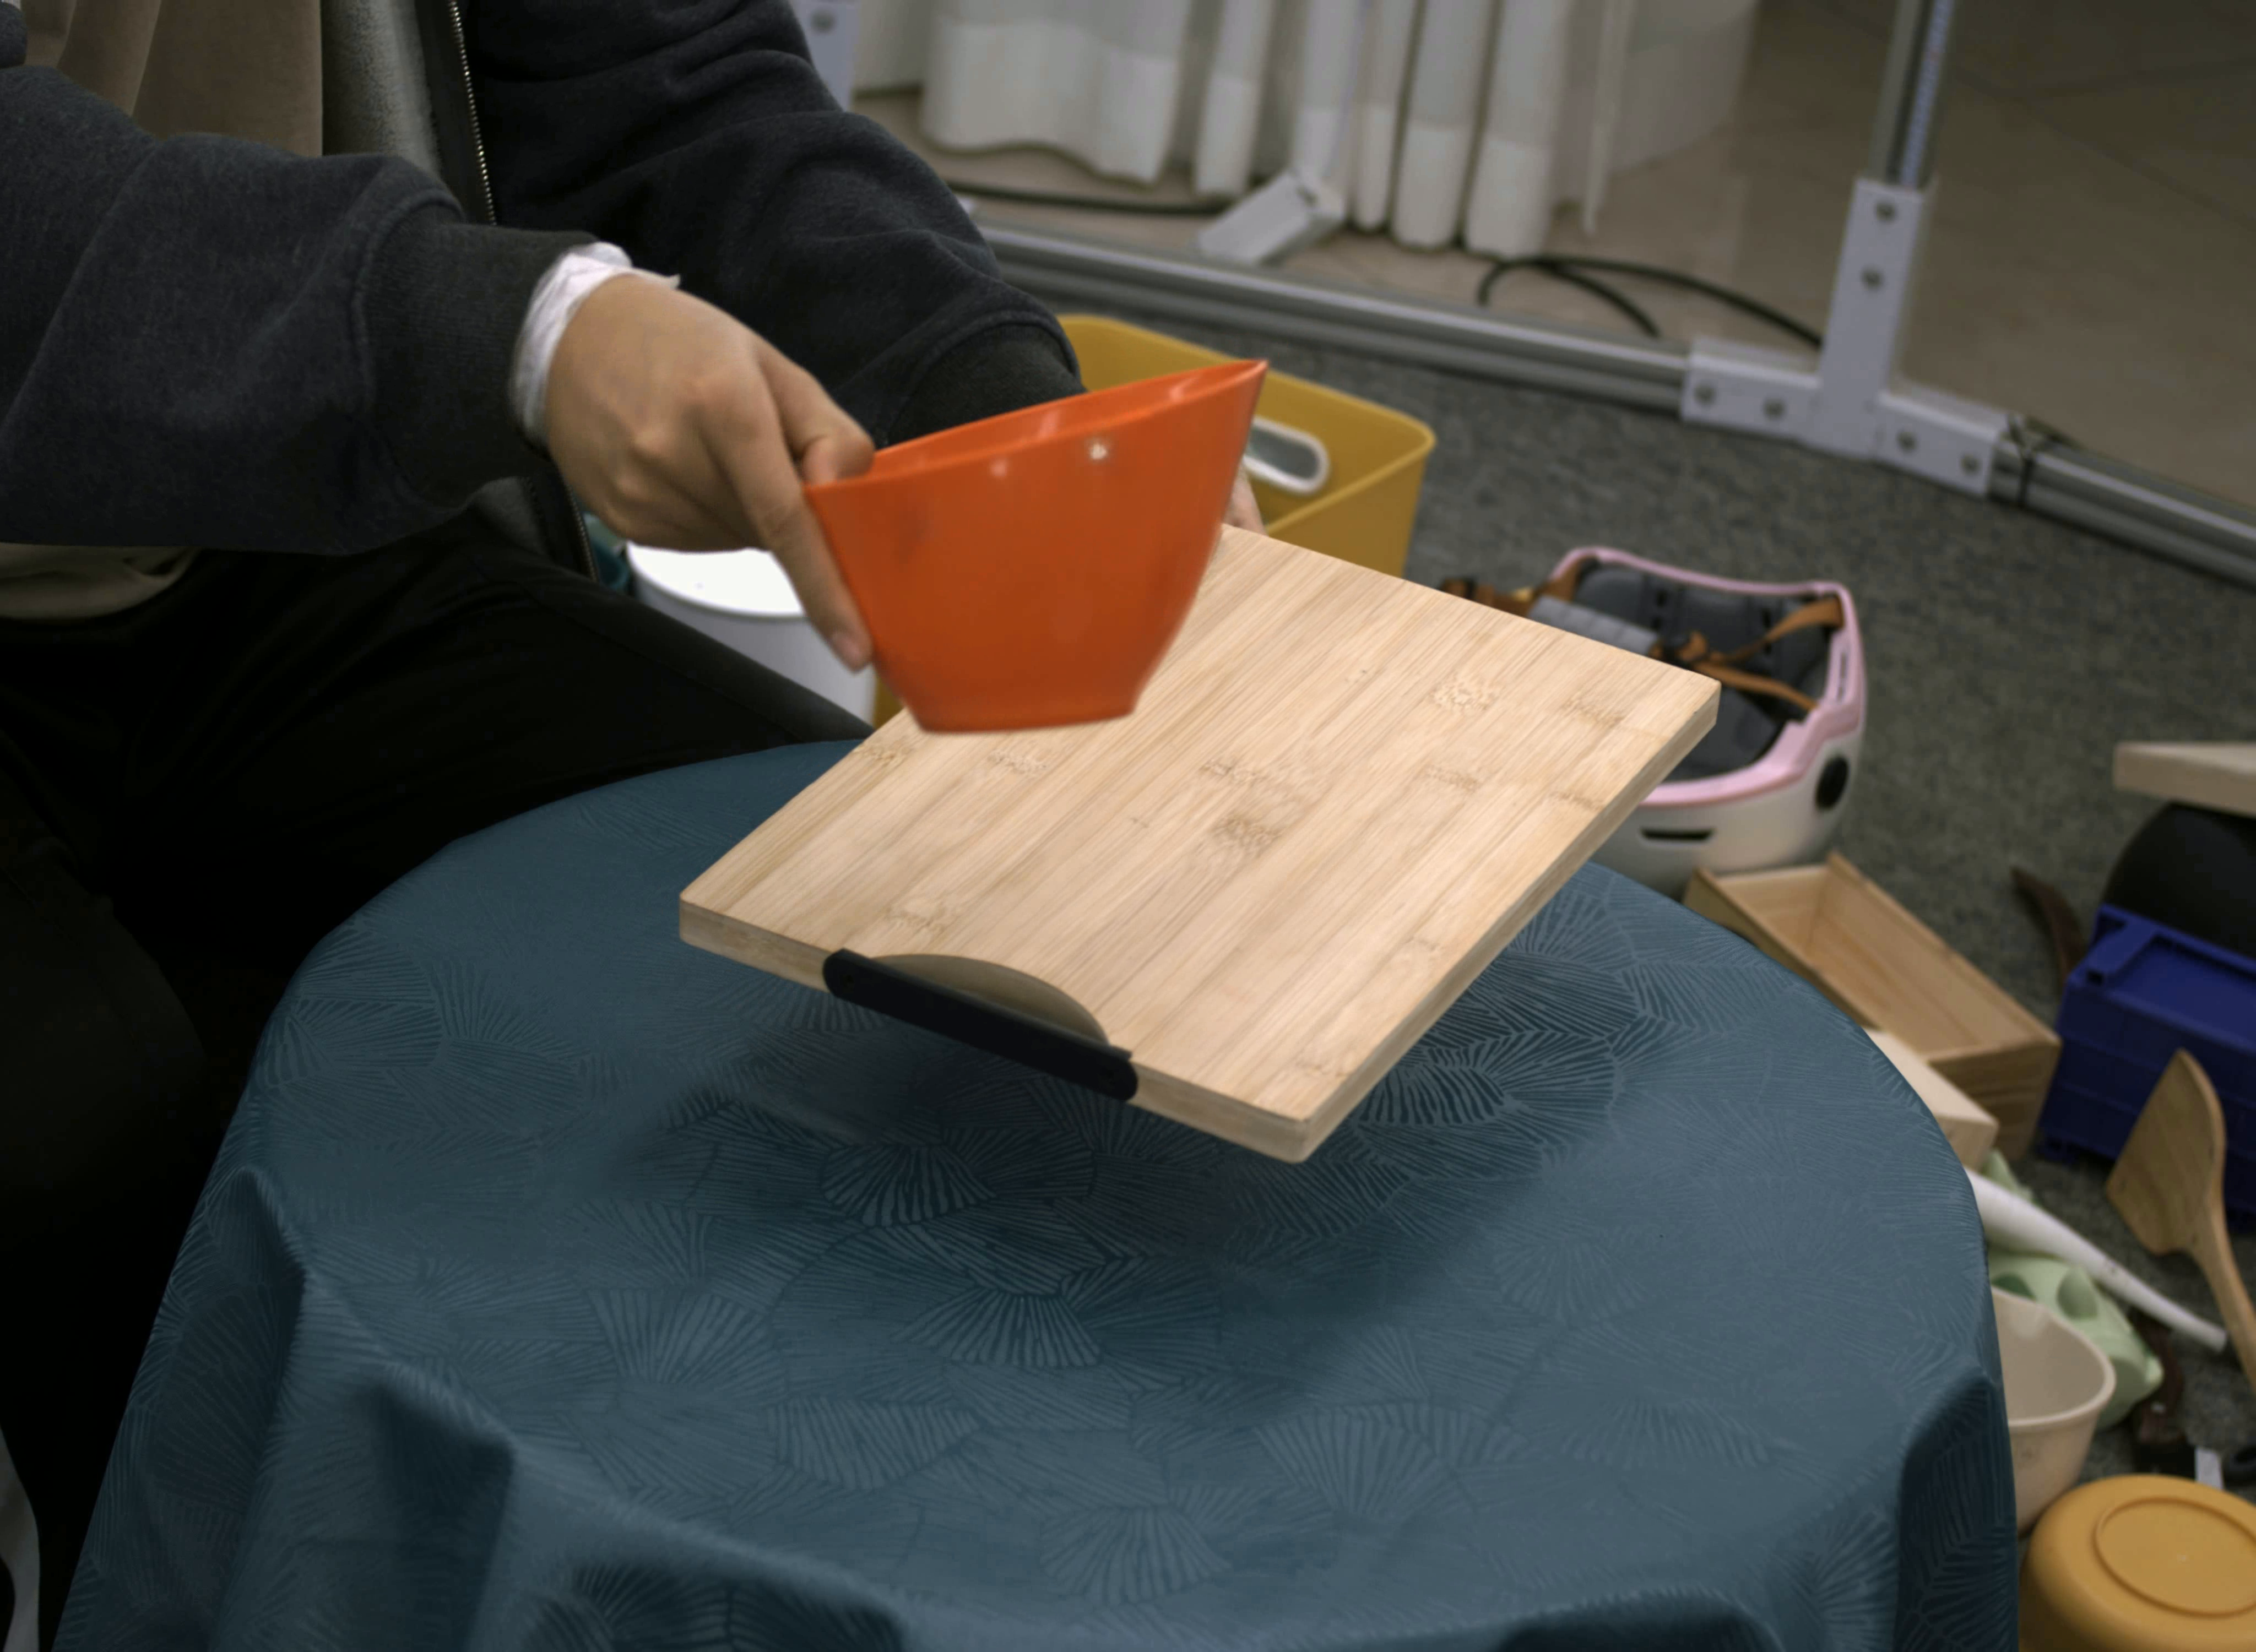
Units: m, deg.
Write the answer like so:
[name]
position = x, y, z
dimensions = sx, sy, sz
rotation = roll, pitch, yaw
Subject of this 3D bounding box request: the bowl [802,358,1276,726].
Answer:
[bowl]
position = -0.024, -0.086, 1.634
dimensions = 0.147, 0.105, 0.148
rotation = -4, 5, 0

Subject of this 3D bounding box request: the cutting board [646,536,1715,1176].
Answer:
[cutting board]
position = 0.028, -0.004, 1.872
dimensions = 0.252, 0.023, 0.348
rotation = 18, 34, 23
